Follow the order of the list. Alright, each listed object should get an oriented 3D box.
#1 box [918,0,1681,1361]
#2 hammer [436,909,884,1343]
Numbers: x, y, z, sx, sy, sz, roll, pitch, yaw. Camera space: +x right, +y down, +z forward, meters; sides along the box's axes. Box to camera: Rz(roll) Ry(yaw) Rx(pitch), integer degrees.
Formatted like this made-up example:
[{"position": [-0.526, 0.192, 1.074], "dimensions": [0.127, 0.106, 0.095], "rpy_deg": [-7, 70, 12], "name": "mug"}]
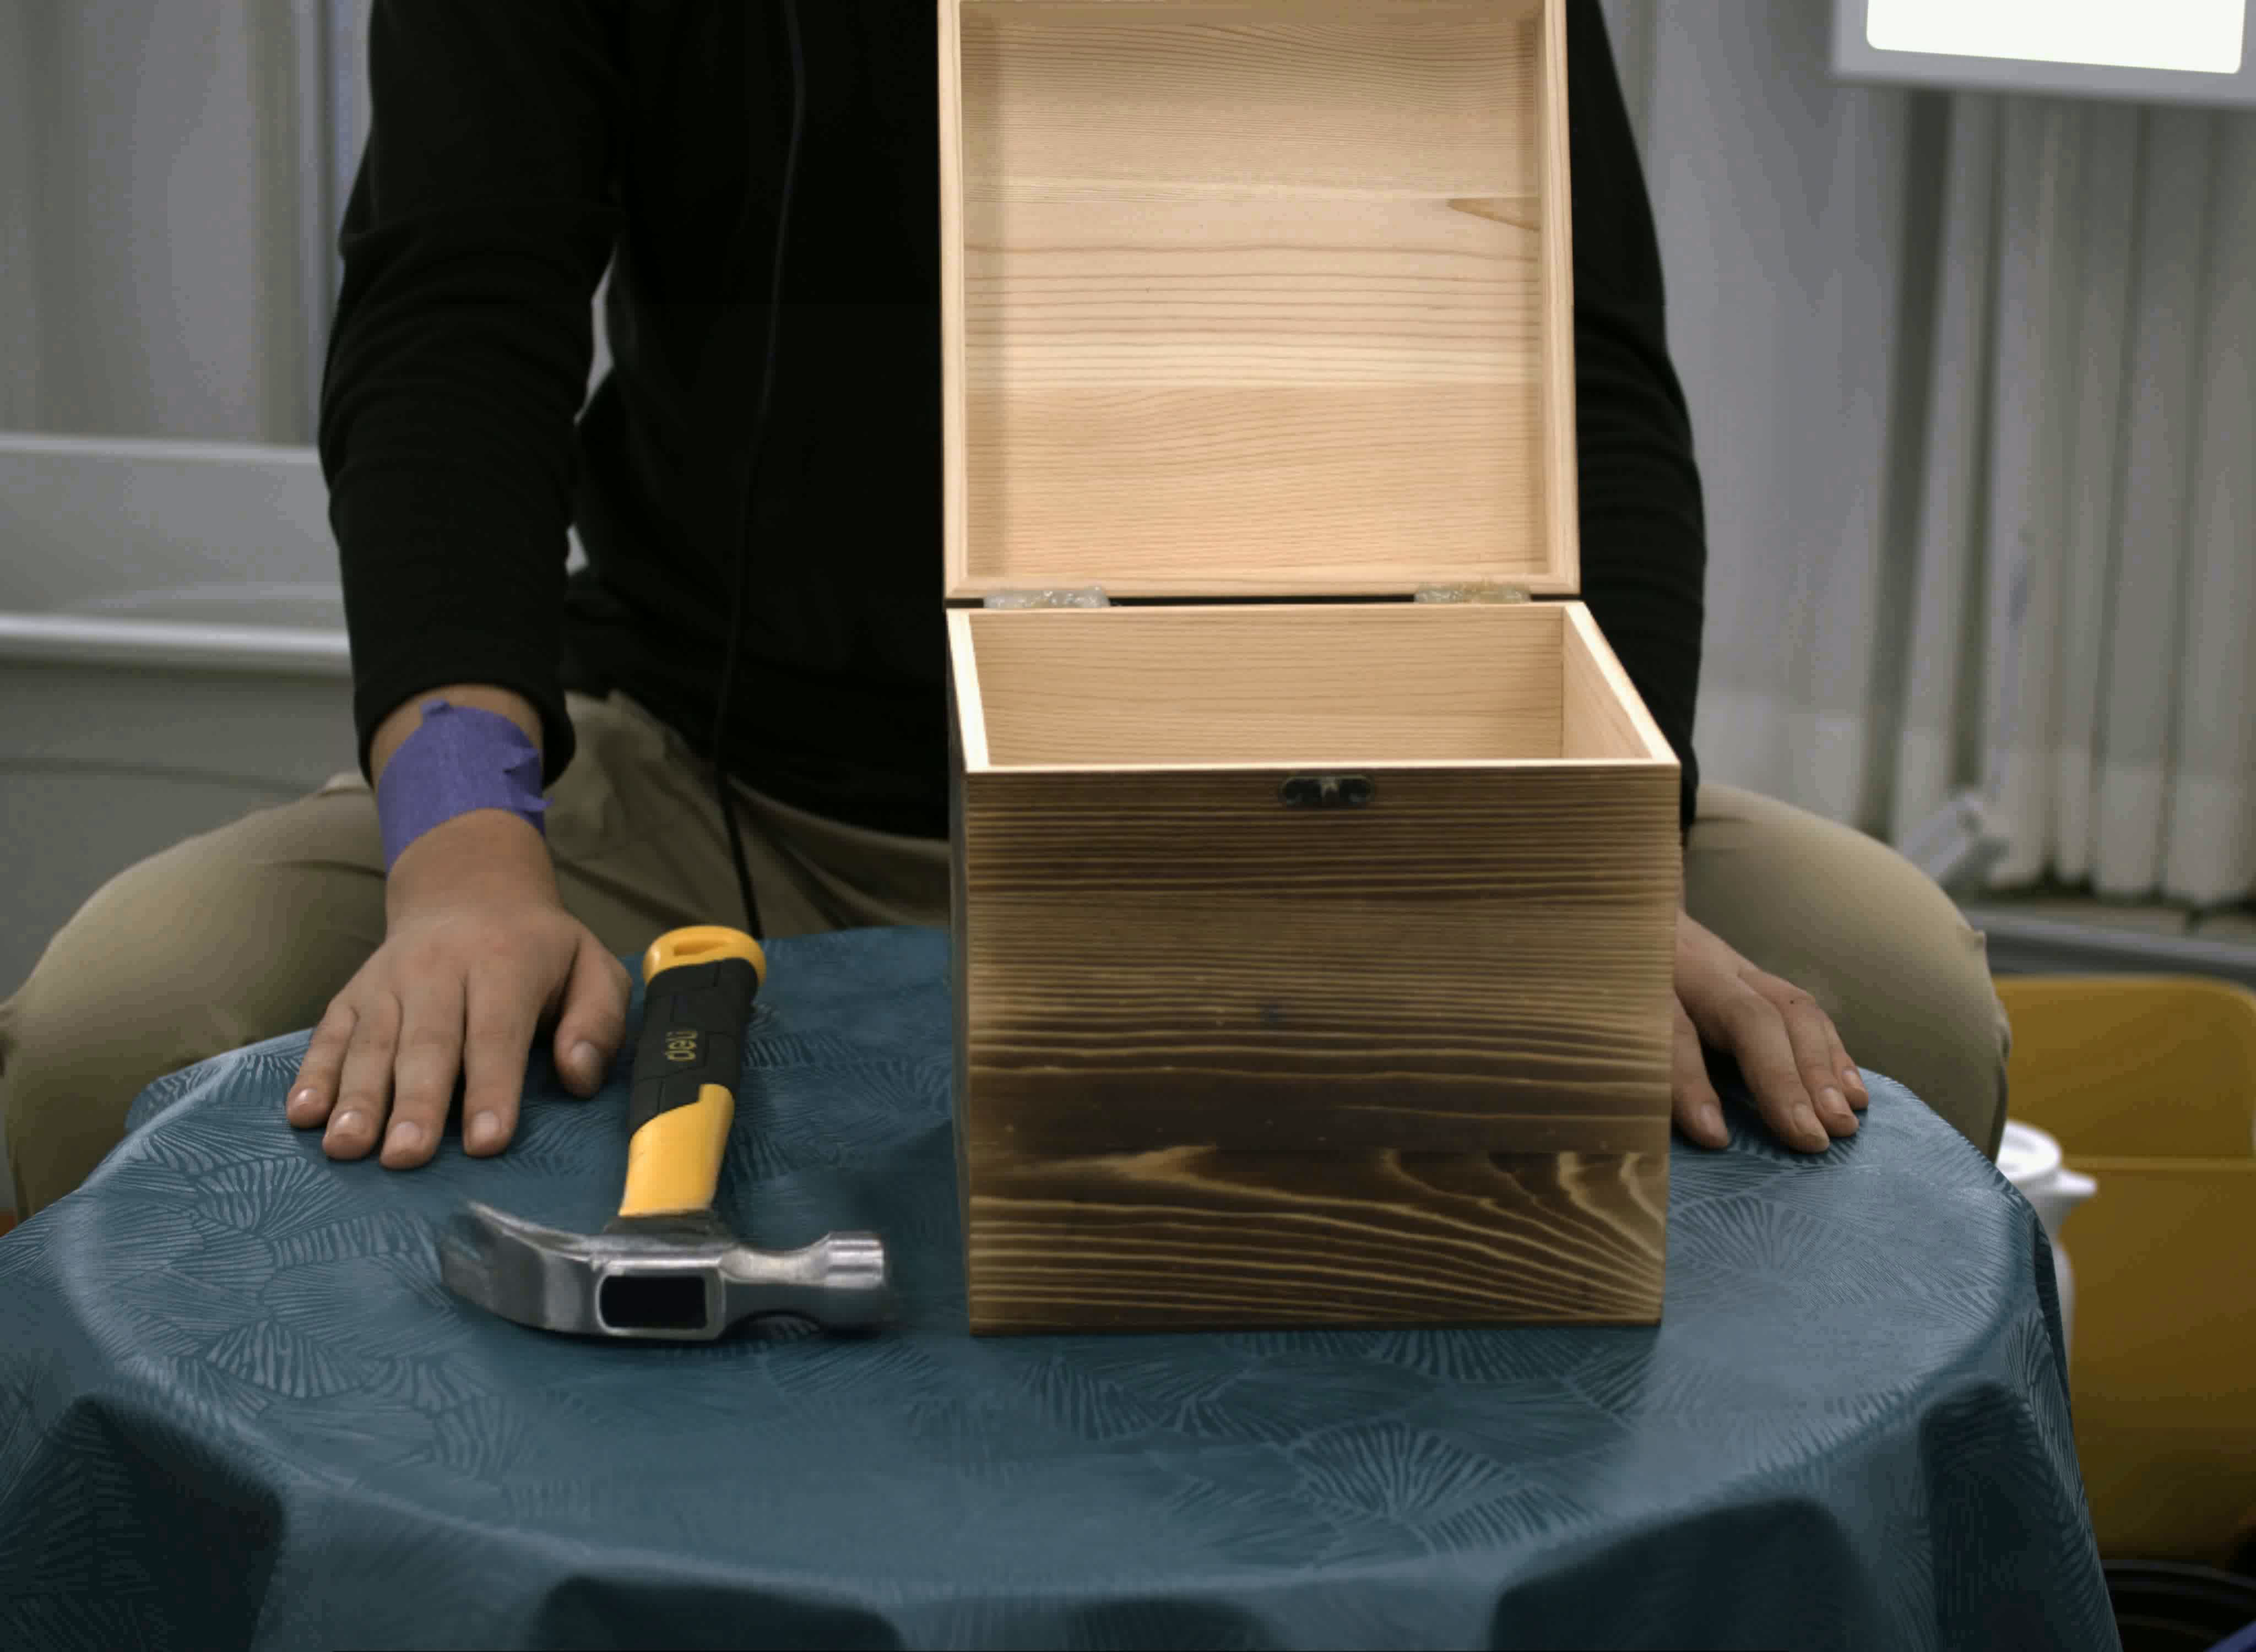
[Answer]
[{"position": [0.045, -0.067, 1.601], "dimensions": [0.208, 0.378, 0.320], "rpy_deg": [-1, 15, -3], "name": "box"}, {"position": [-0.138, 0.086, 1.643], "dimensions": [0.131, 0.032, 0.336], "rpy_deg": [0, 17, -1], "name": "hammer"}]
